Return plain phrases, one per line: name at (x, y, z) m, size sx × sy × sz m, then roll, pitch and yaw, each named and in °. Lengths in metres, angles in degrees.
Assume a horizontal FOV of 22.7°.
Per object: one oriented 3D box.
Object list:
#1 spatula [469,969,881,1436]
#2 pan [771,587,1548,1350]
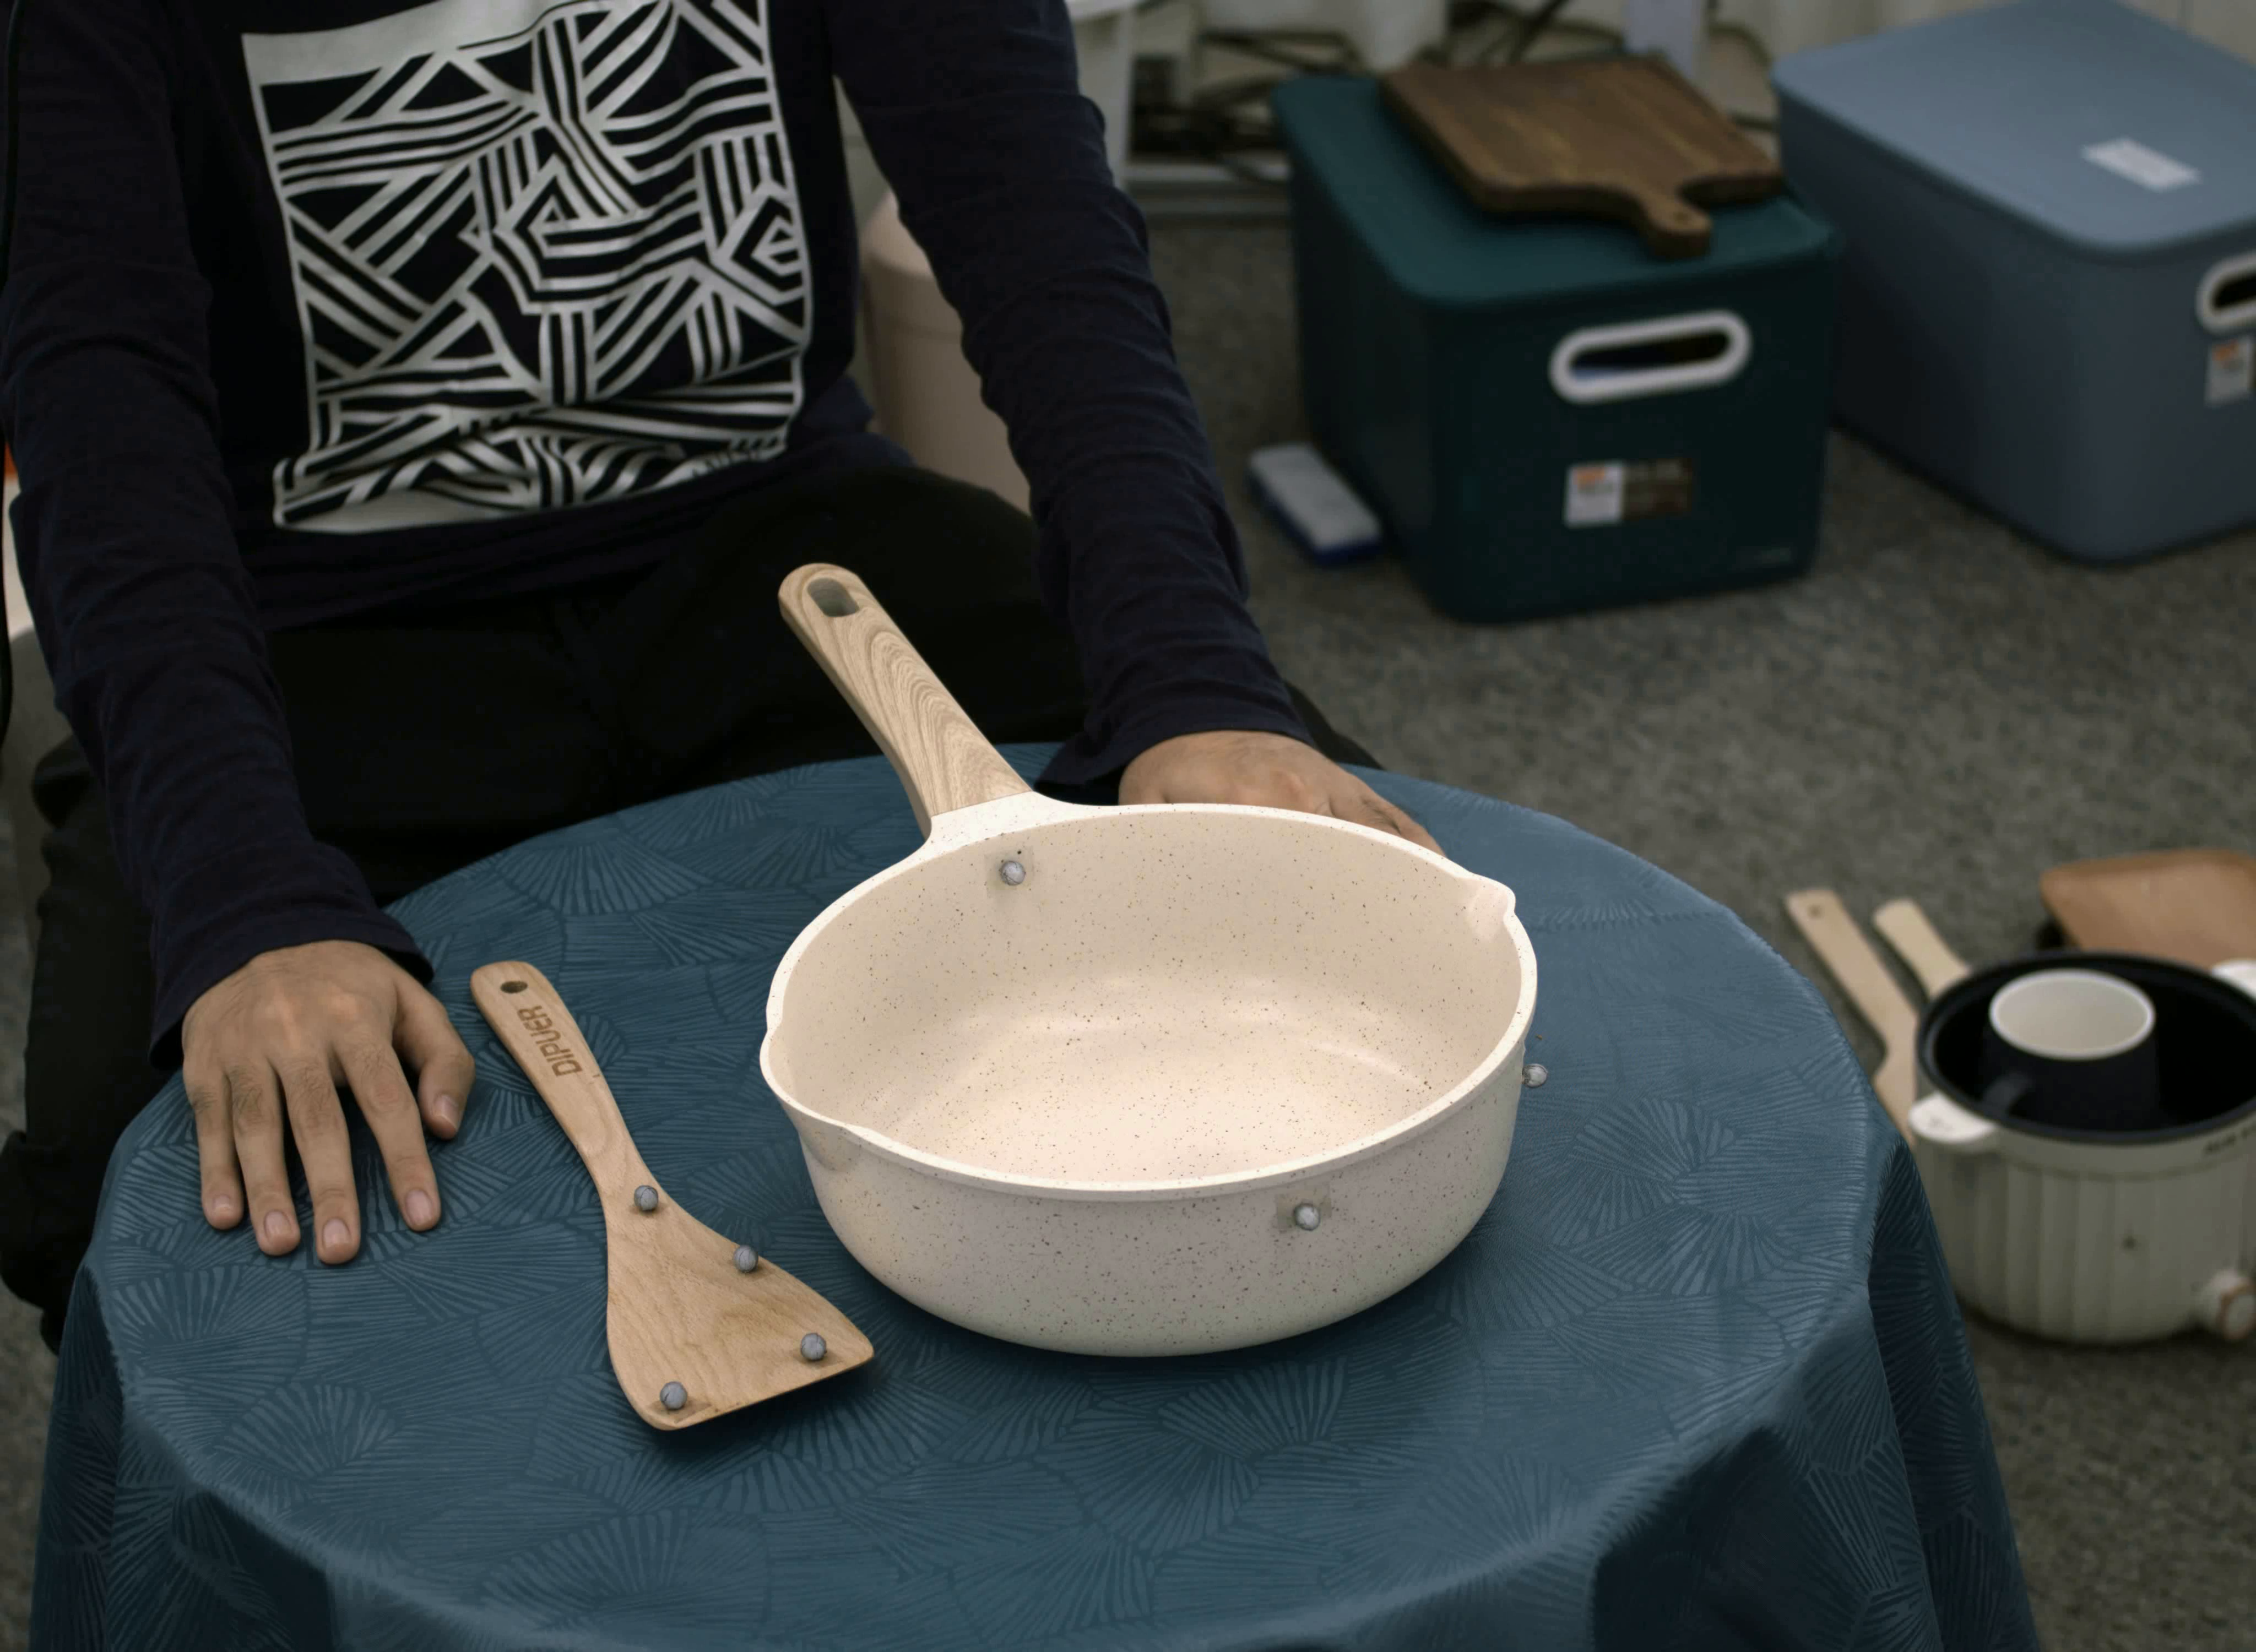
spatula at (-0.166, 0.118, 1.875) m, size 0.080 × 0.016 × 0.330 m, roll -13°, pitch 29°, yaw -17°
pan at (-0.025, 0.042, 1.919) m, size 0.264 × 0.101 × 0.437 m, roll -15°, pitch 29°, yaw -20°
